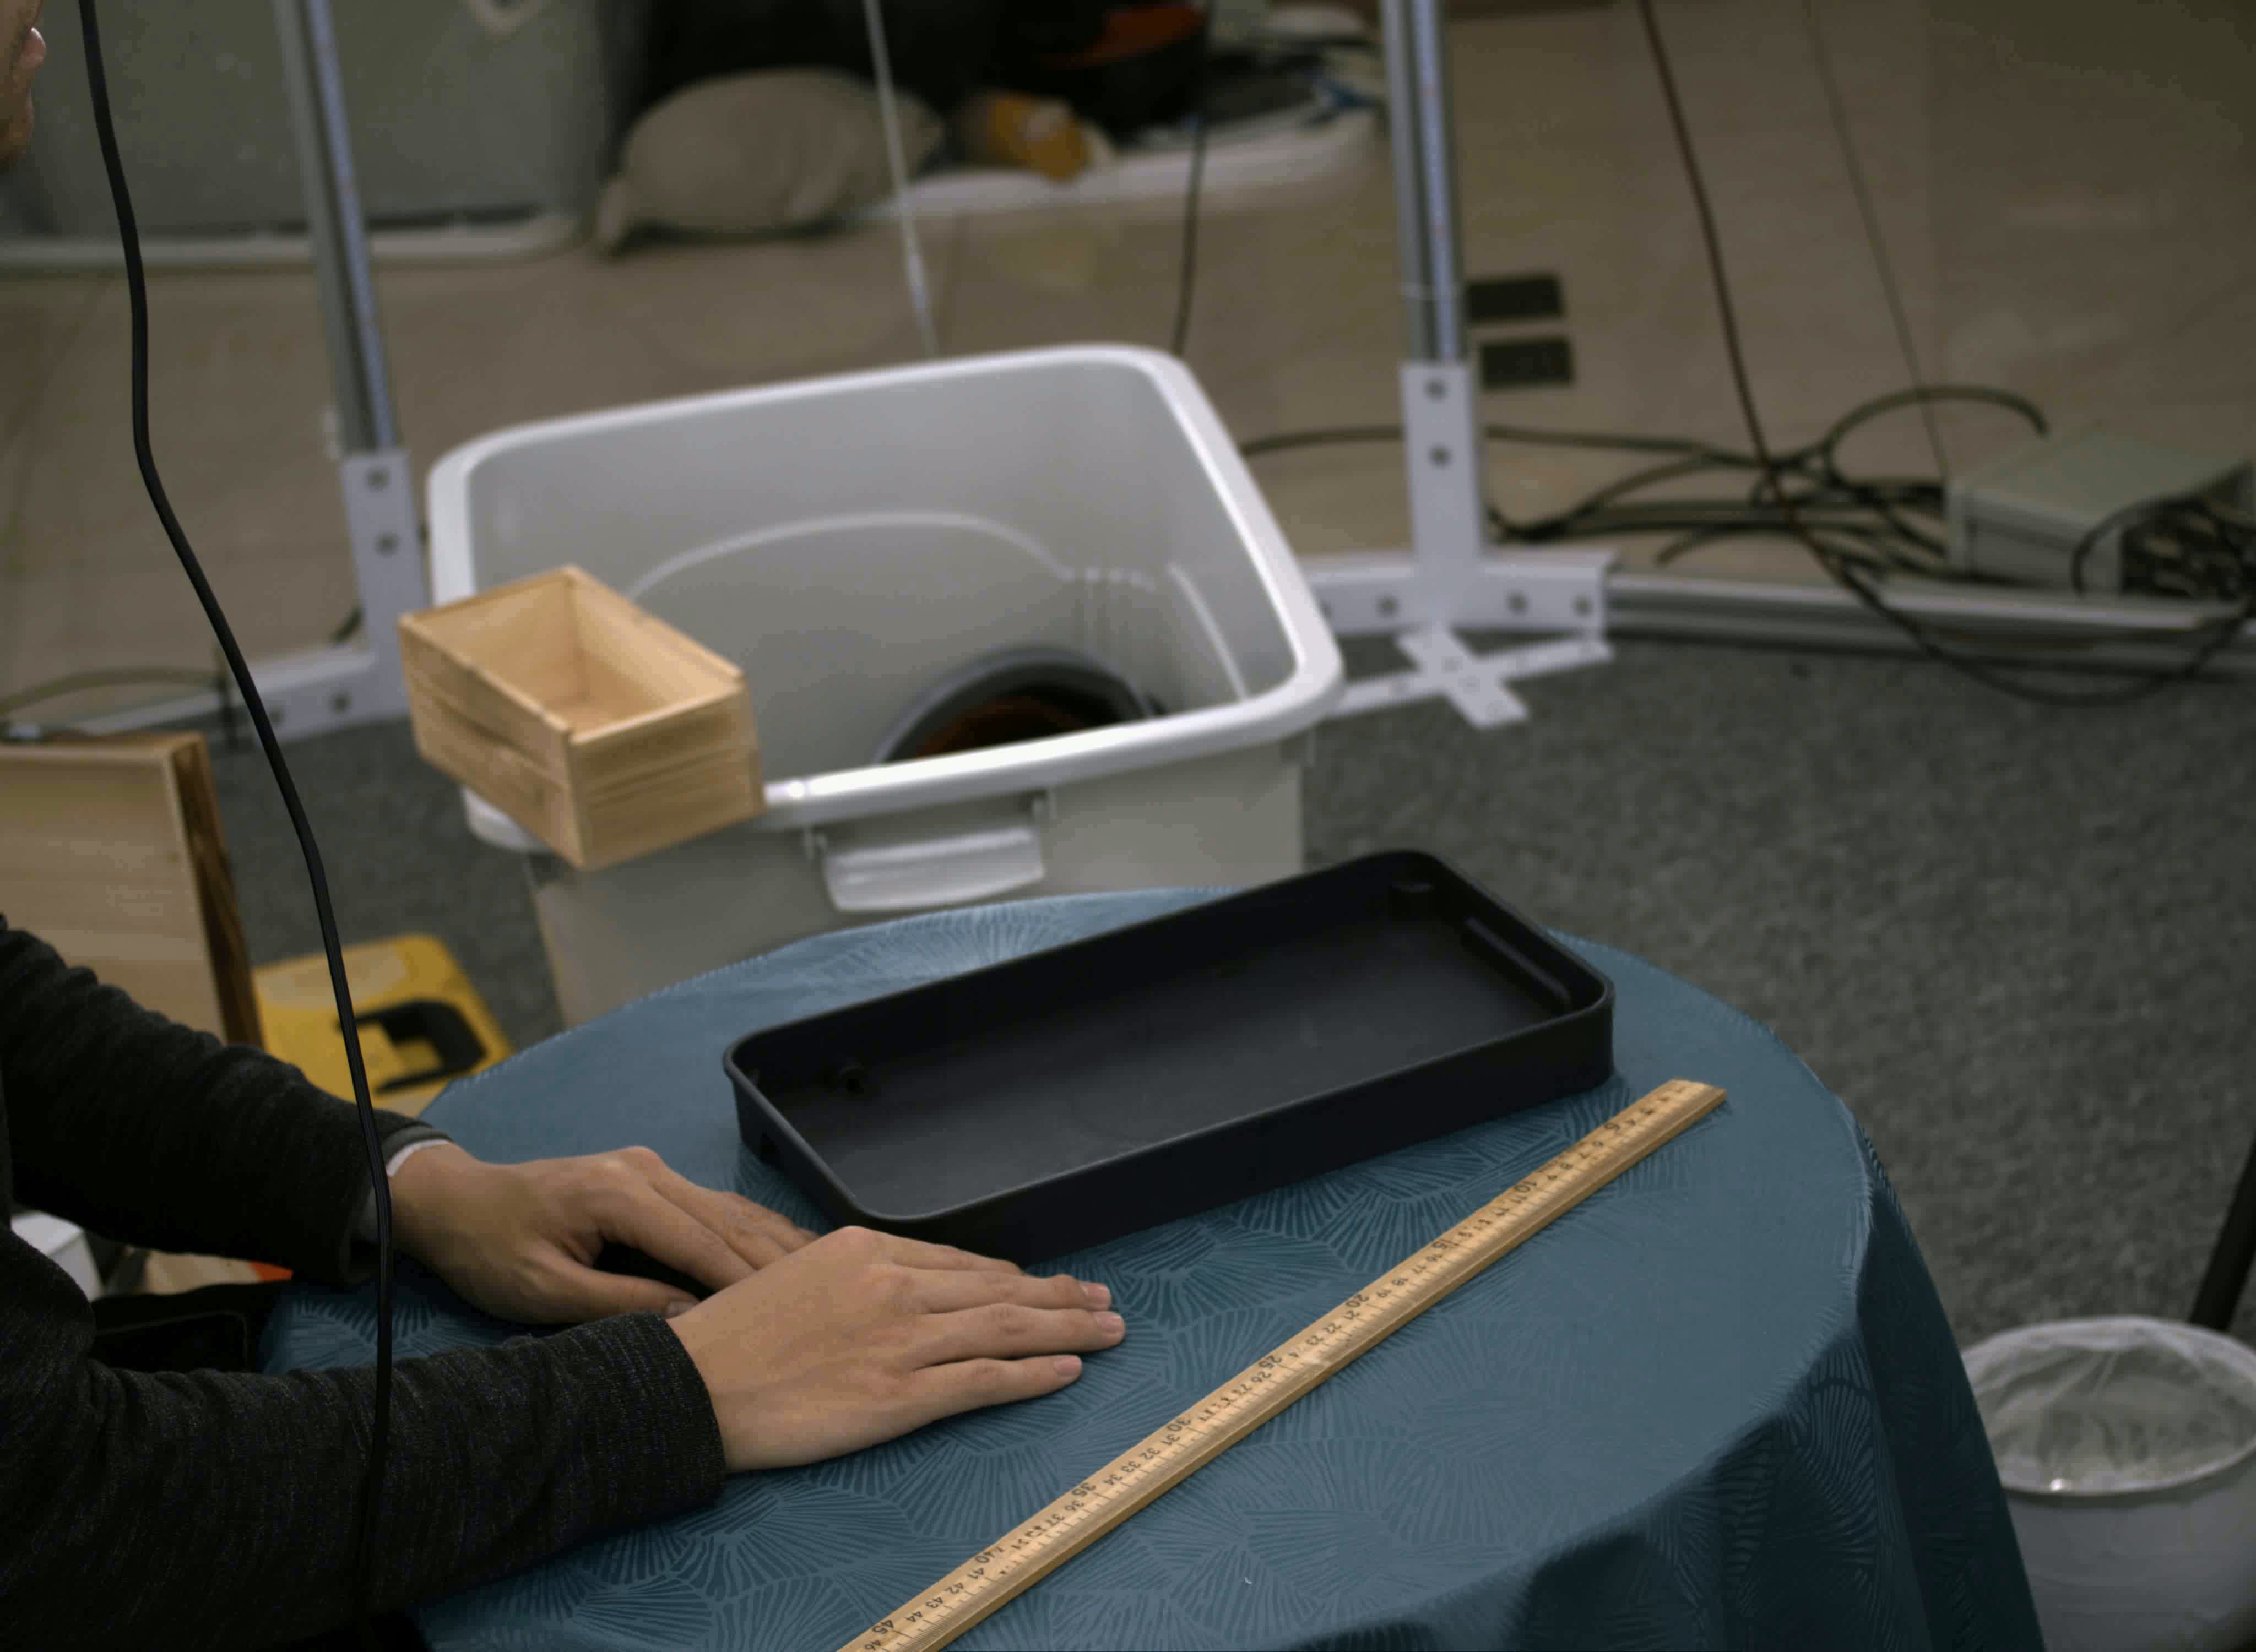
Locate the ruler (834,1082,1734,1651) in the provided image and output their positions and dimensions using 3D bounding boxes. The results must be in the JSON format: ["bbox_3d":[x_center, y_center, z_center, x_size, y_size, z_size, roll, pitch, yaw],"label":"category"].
[{"bbox_3d":[0.057,0.194,2.010,0.026,0.006,0.496,13,31,41],"label":"ruler"}]

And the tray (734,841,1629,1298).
[{"bbox_3d":[0.022,0.090,2.205,0.316,0.037,0.182,-17,27,-21],"label":"tray"}]
